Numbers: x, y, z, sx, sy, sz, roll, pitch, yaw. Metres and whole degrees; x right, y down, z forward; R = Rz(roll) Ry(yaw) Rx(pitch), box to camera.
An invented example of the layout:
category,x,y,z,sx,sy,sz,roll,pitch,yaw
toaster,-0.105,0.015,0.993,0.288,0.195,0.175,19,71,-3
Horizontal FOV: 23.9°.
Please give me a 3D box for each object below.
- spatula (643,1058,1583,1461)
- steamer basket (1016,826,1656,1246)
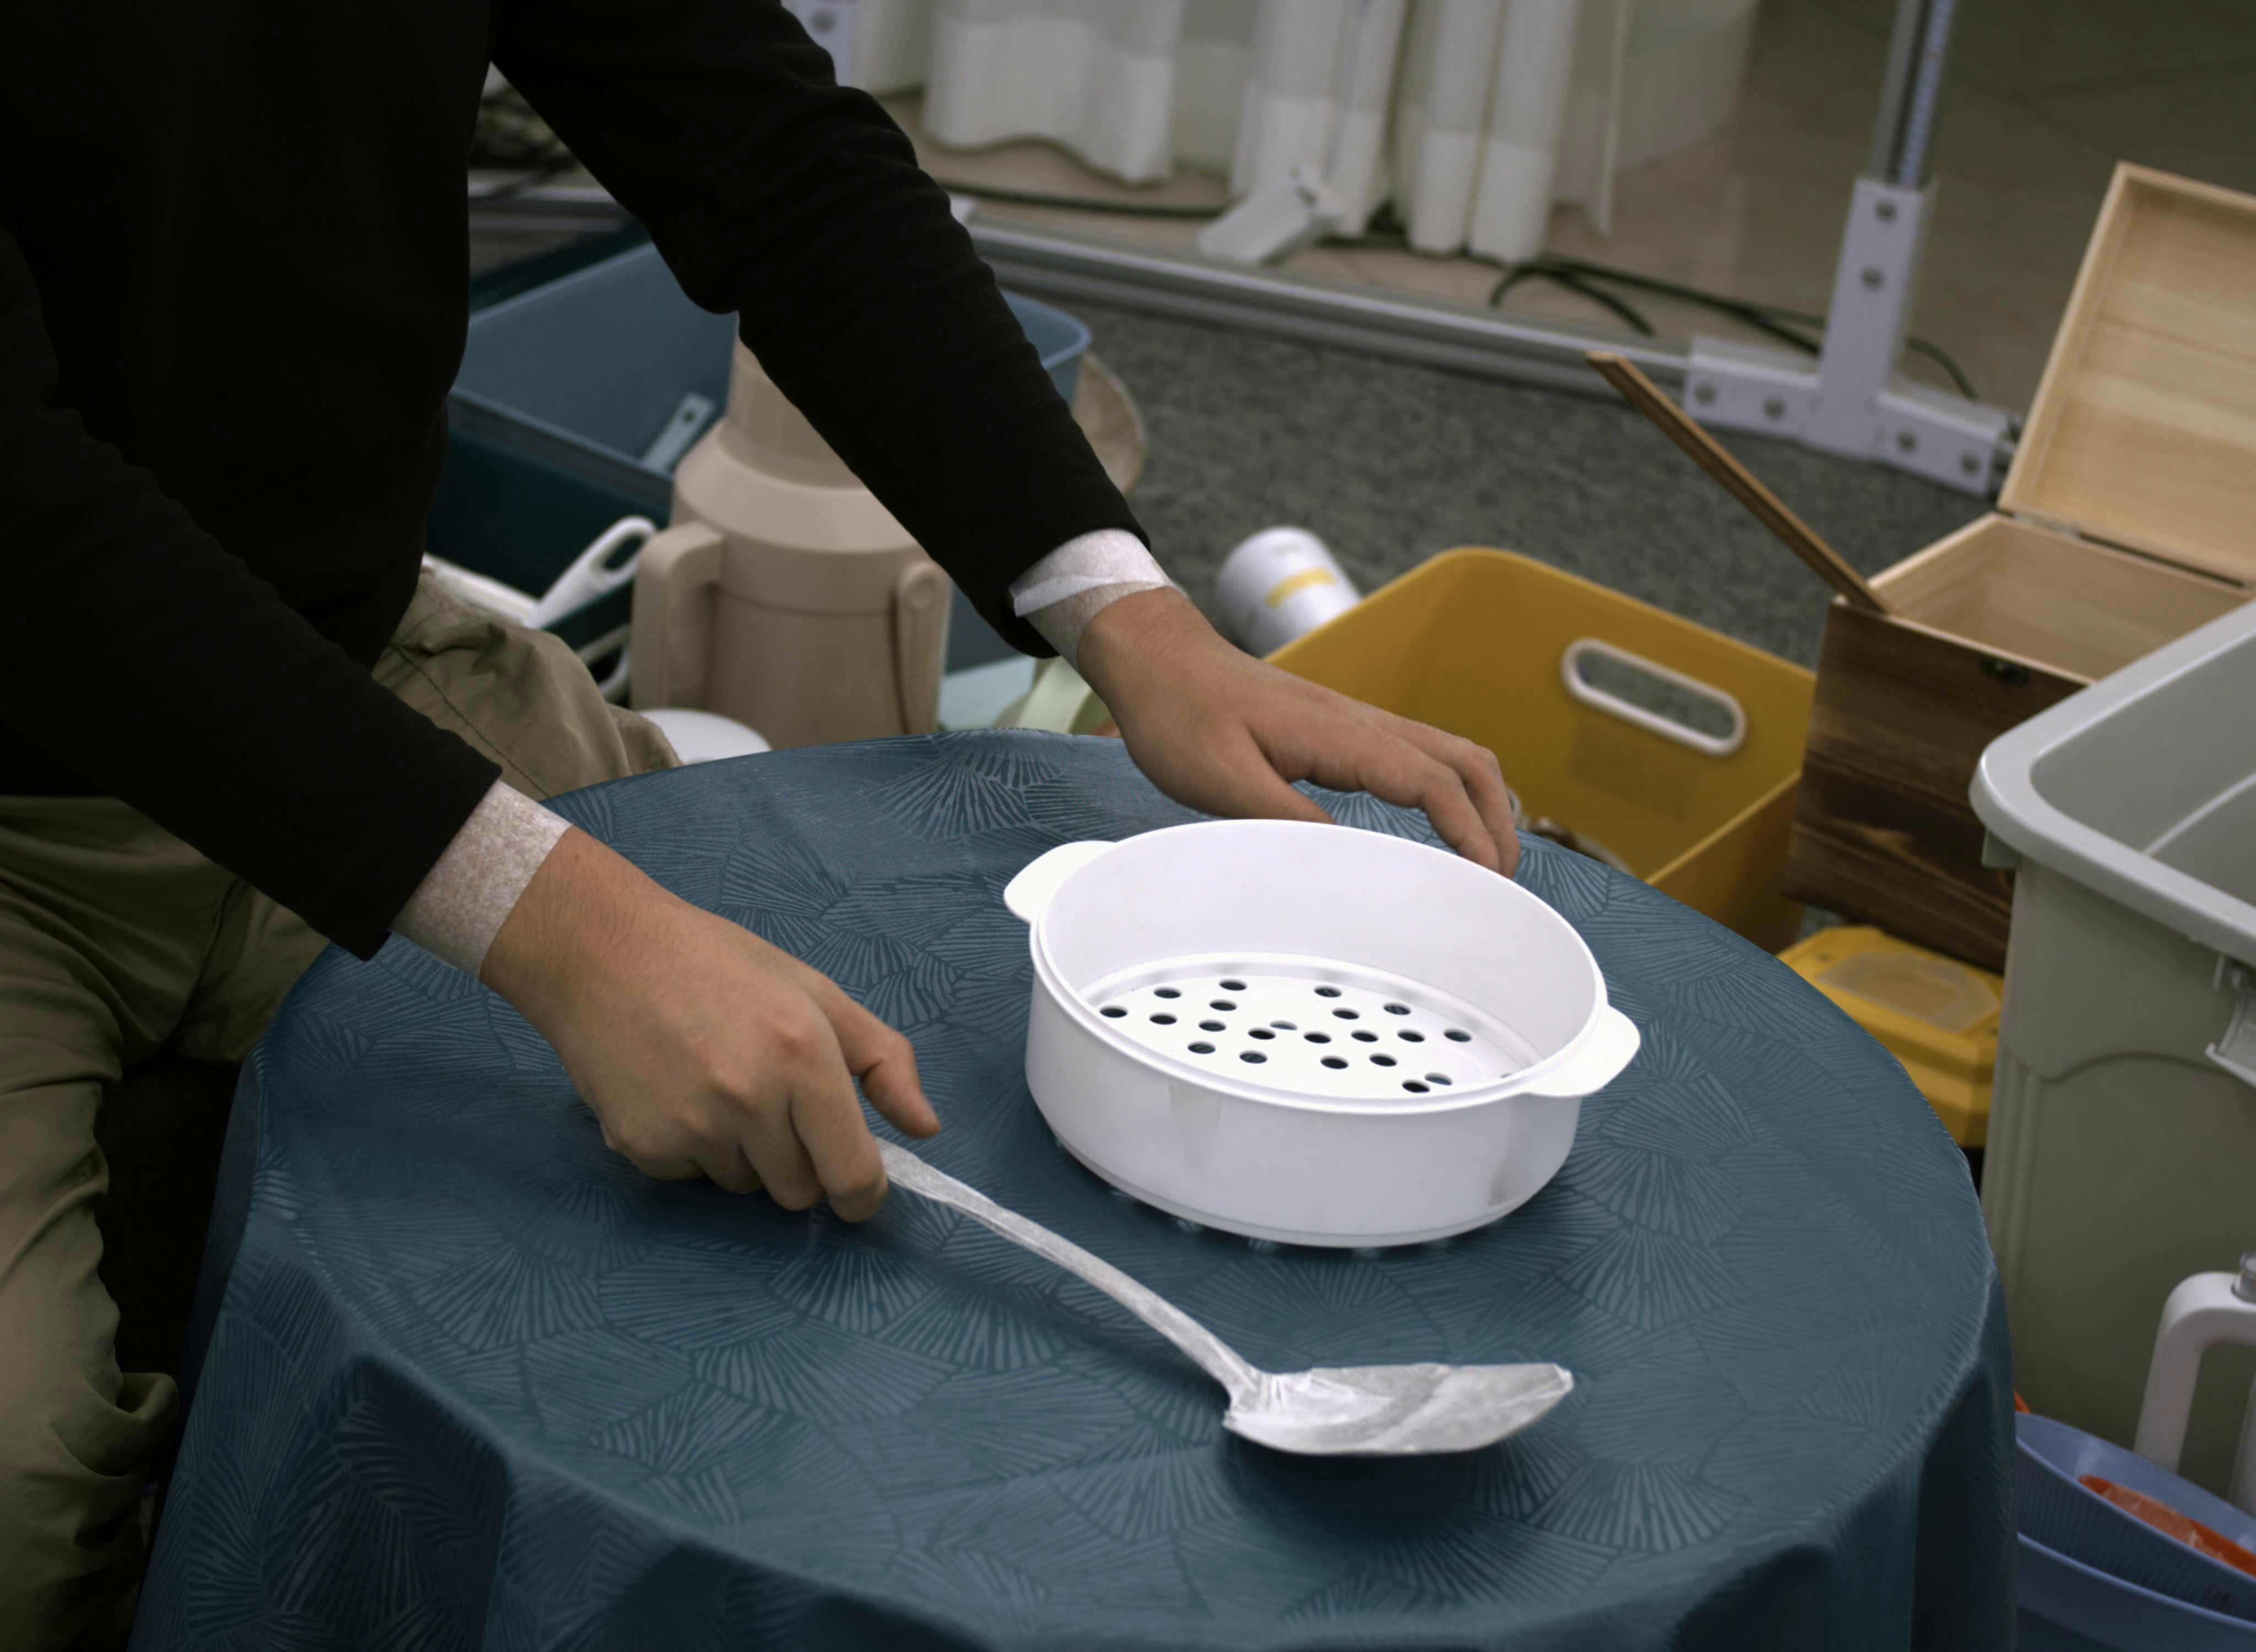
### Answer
category,x,y,z,sx,sy,sz,roll,pitch,yaw
spatula,-0.023,0.133,1.726,0.367,0.044,0.098,25,26,28
steamer basket,0.067,0.073,1.840,0.231,0.069,0.201,18,28,23
